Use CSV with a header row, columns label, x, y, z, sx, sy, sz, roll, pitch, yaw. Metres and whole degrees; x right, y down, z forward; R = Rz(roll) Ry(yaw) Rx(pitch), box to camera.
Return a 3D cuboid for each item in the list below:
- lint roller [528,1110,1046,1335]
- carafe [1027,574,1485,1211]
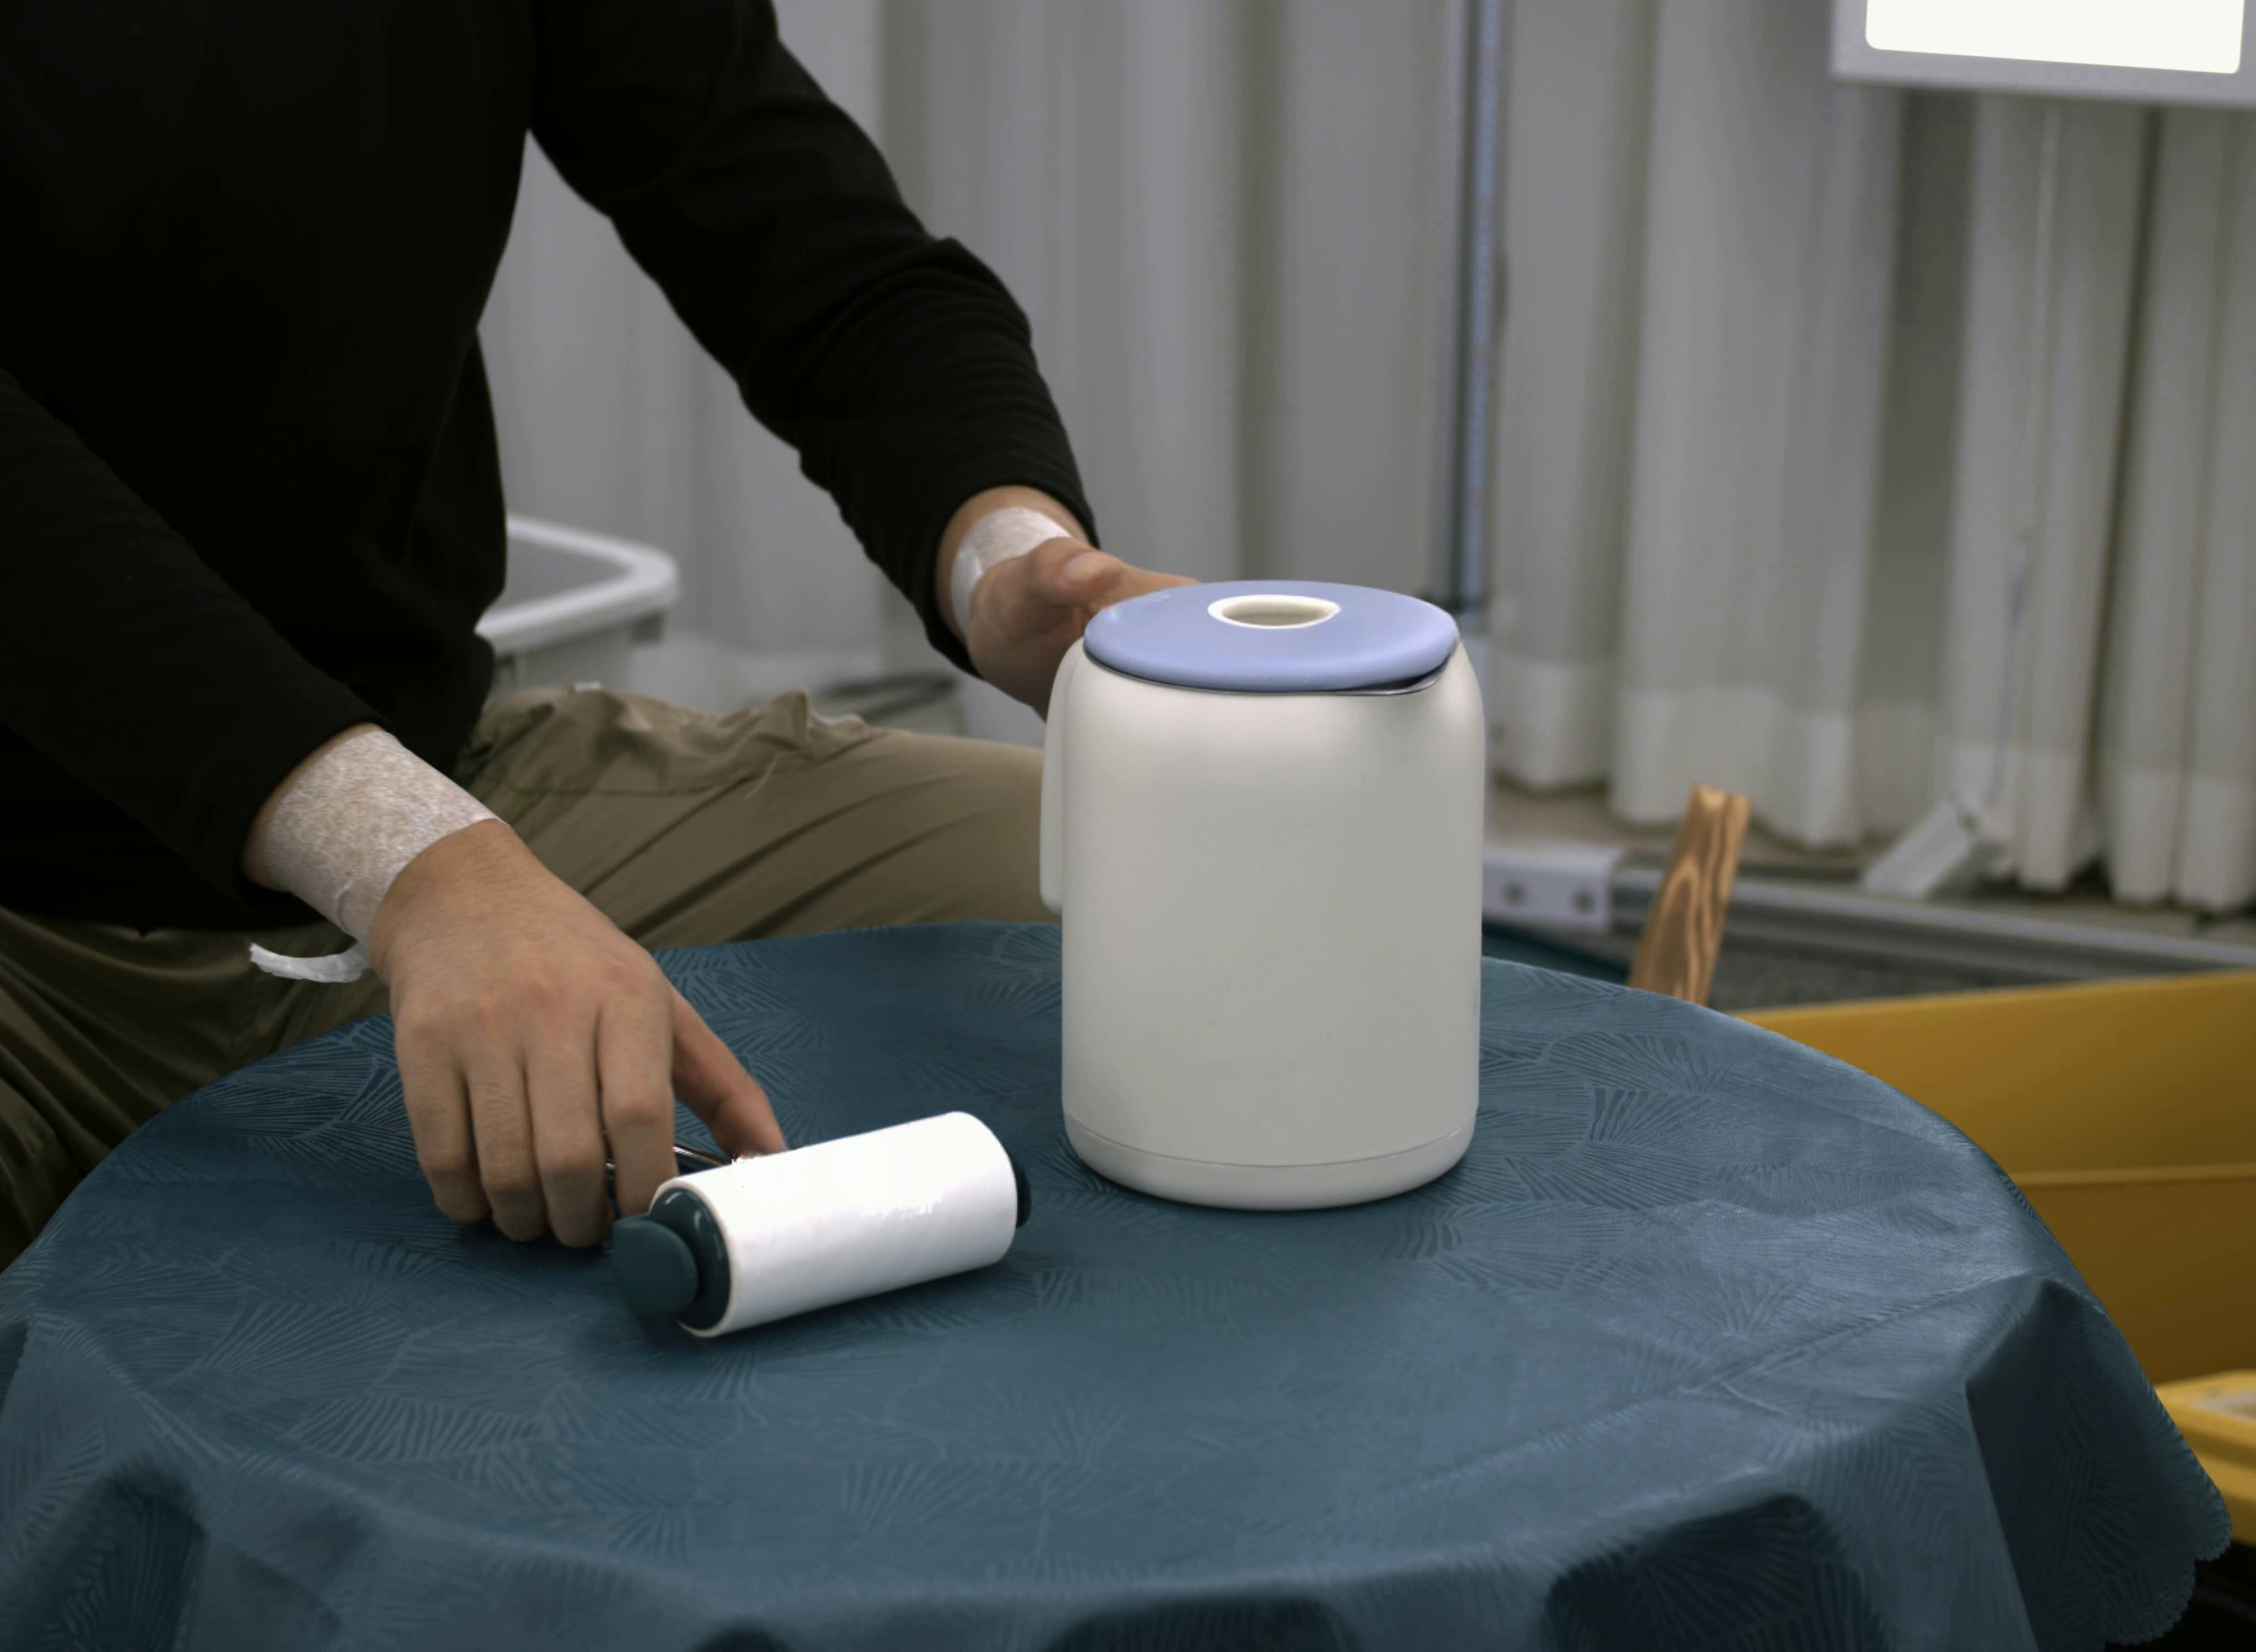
label,x,y,z,sx,sy,sz,roll,pitch,yaw
lint roller,-0.127,0.103,1.572,0.135,0.048,0.178,-11,17,-36
carafe,0.030,0.014,1.652,0.133,0.184,0.188,-11,17,-36
